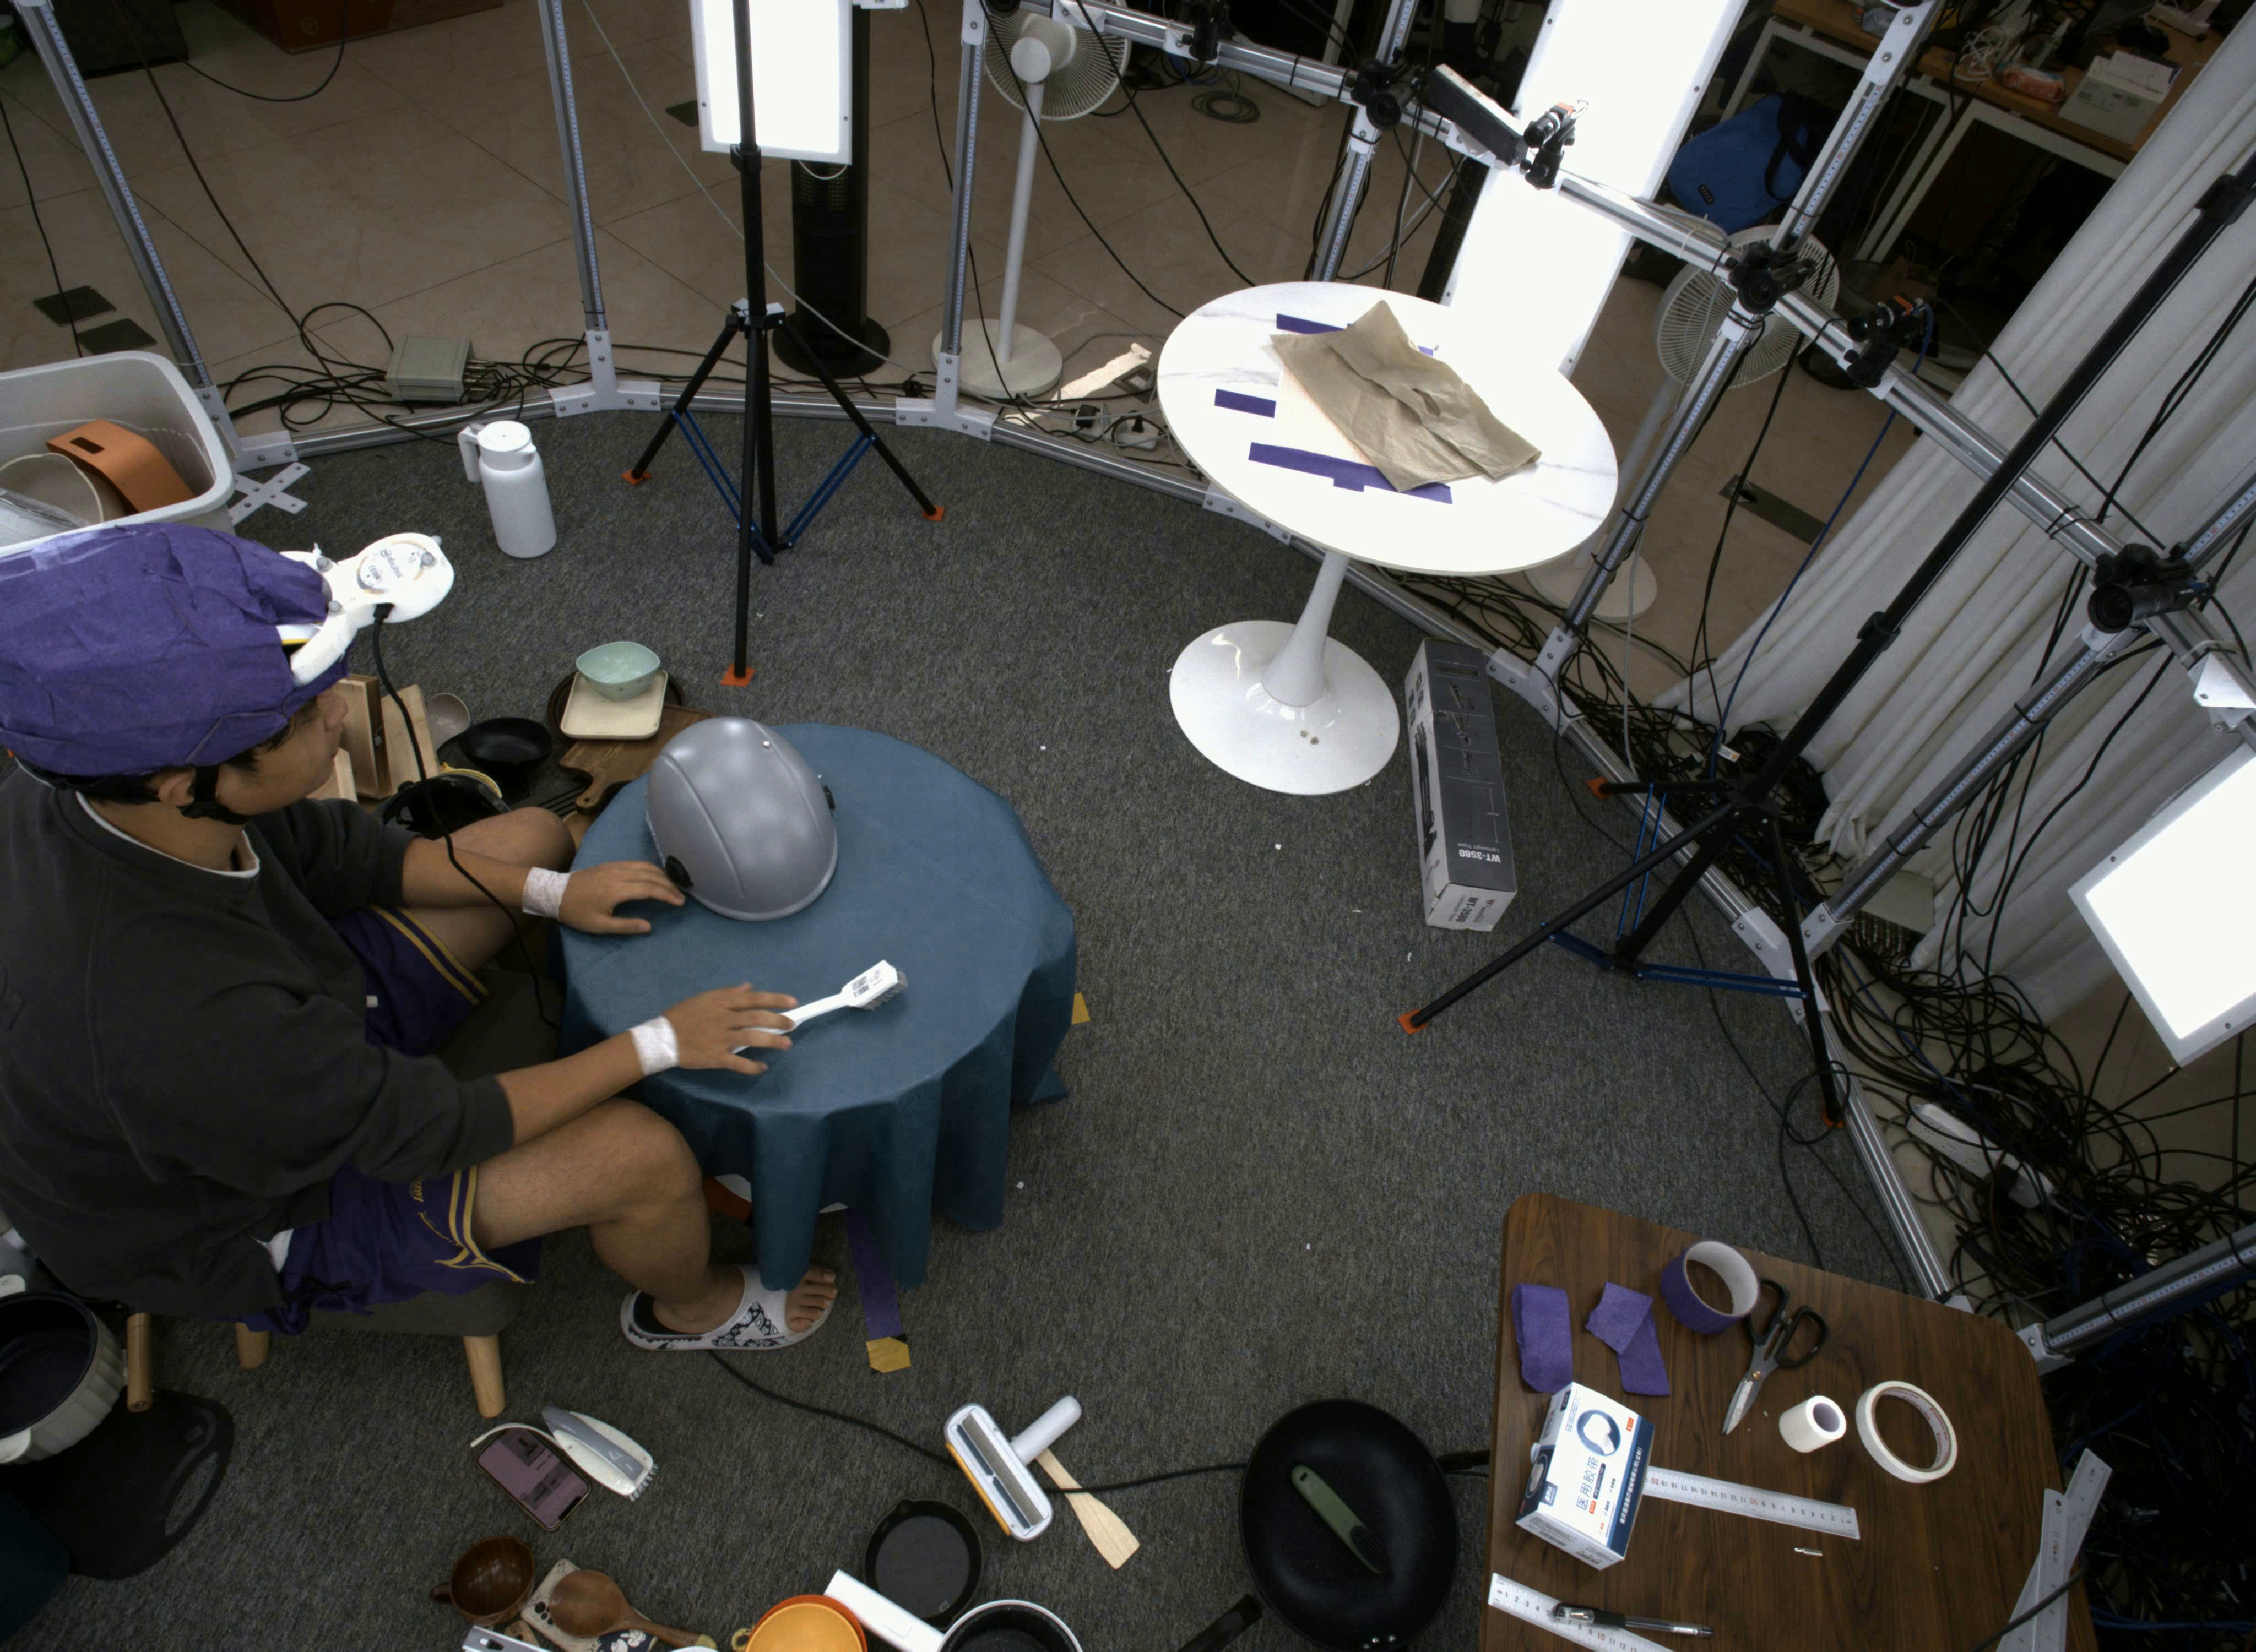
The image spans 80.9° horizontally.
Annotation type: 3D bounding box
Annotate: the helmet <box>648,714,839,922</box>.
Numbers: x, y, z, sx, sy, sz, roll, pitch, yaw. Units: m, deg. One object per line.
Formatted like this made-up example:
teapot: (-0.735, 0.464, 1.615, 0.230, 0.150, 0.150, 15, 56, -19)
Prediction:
helmet: (-0.490, -0.033, 1.632, 0.233, 0.172, 0.270, -30, 67, -28)

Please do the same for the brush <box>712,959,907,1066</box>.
brush: (-0.380, 0.228, 1.555, 0.243, 0.051, 0.033, -27, 62, -14)
